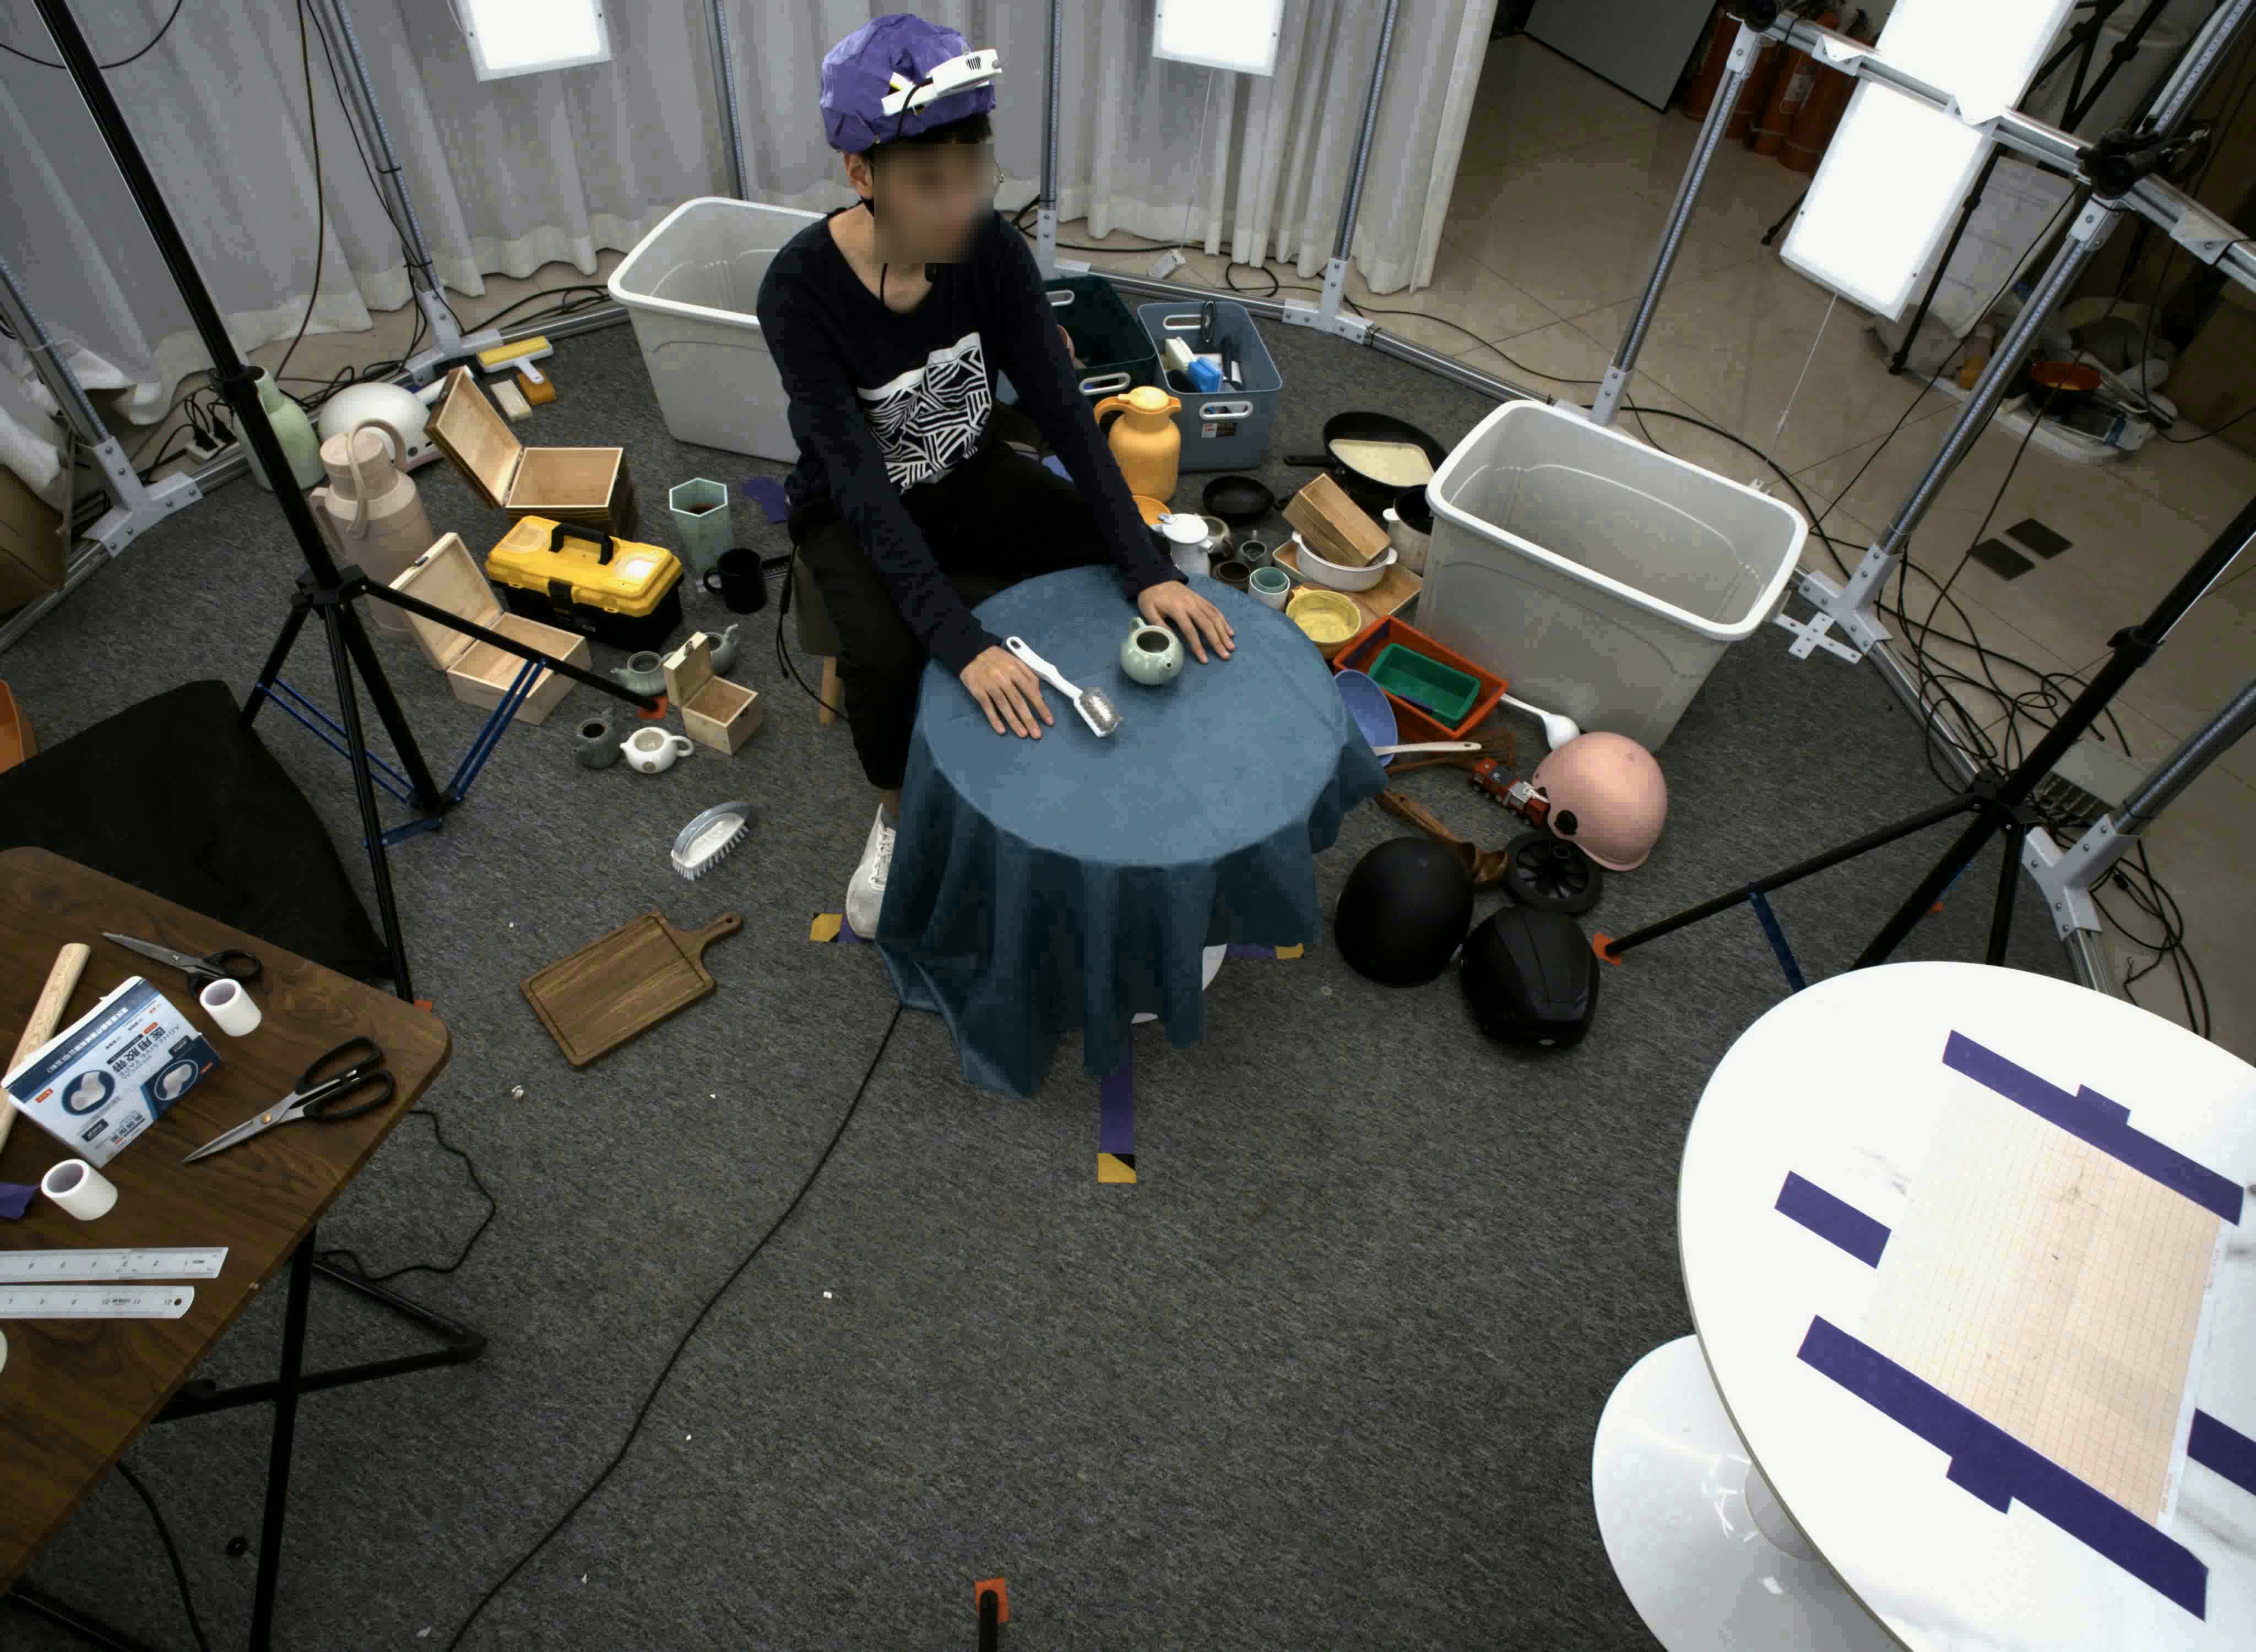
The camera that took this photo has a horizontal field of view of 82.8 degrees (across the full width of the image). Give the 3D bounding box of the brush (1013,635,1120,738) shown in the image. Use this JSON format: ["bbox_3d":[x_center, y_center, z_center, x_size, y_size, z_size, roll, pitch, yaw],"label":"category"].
[{"bbox_3d":[-0.092,-0.211,1.815,0.034,0.049,0.248,-29,56,-21],"label":"brush"}]

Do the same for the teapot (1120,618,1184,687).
[{"bbox_3d":[0.032,-0.249,1.850,0.091,0.059,0.131,-16,51,-10],"label":"teapot"}]
